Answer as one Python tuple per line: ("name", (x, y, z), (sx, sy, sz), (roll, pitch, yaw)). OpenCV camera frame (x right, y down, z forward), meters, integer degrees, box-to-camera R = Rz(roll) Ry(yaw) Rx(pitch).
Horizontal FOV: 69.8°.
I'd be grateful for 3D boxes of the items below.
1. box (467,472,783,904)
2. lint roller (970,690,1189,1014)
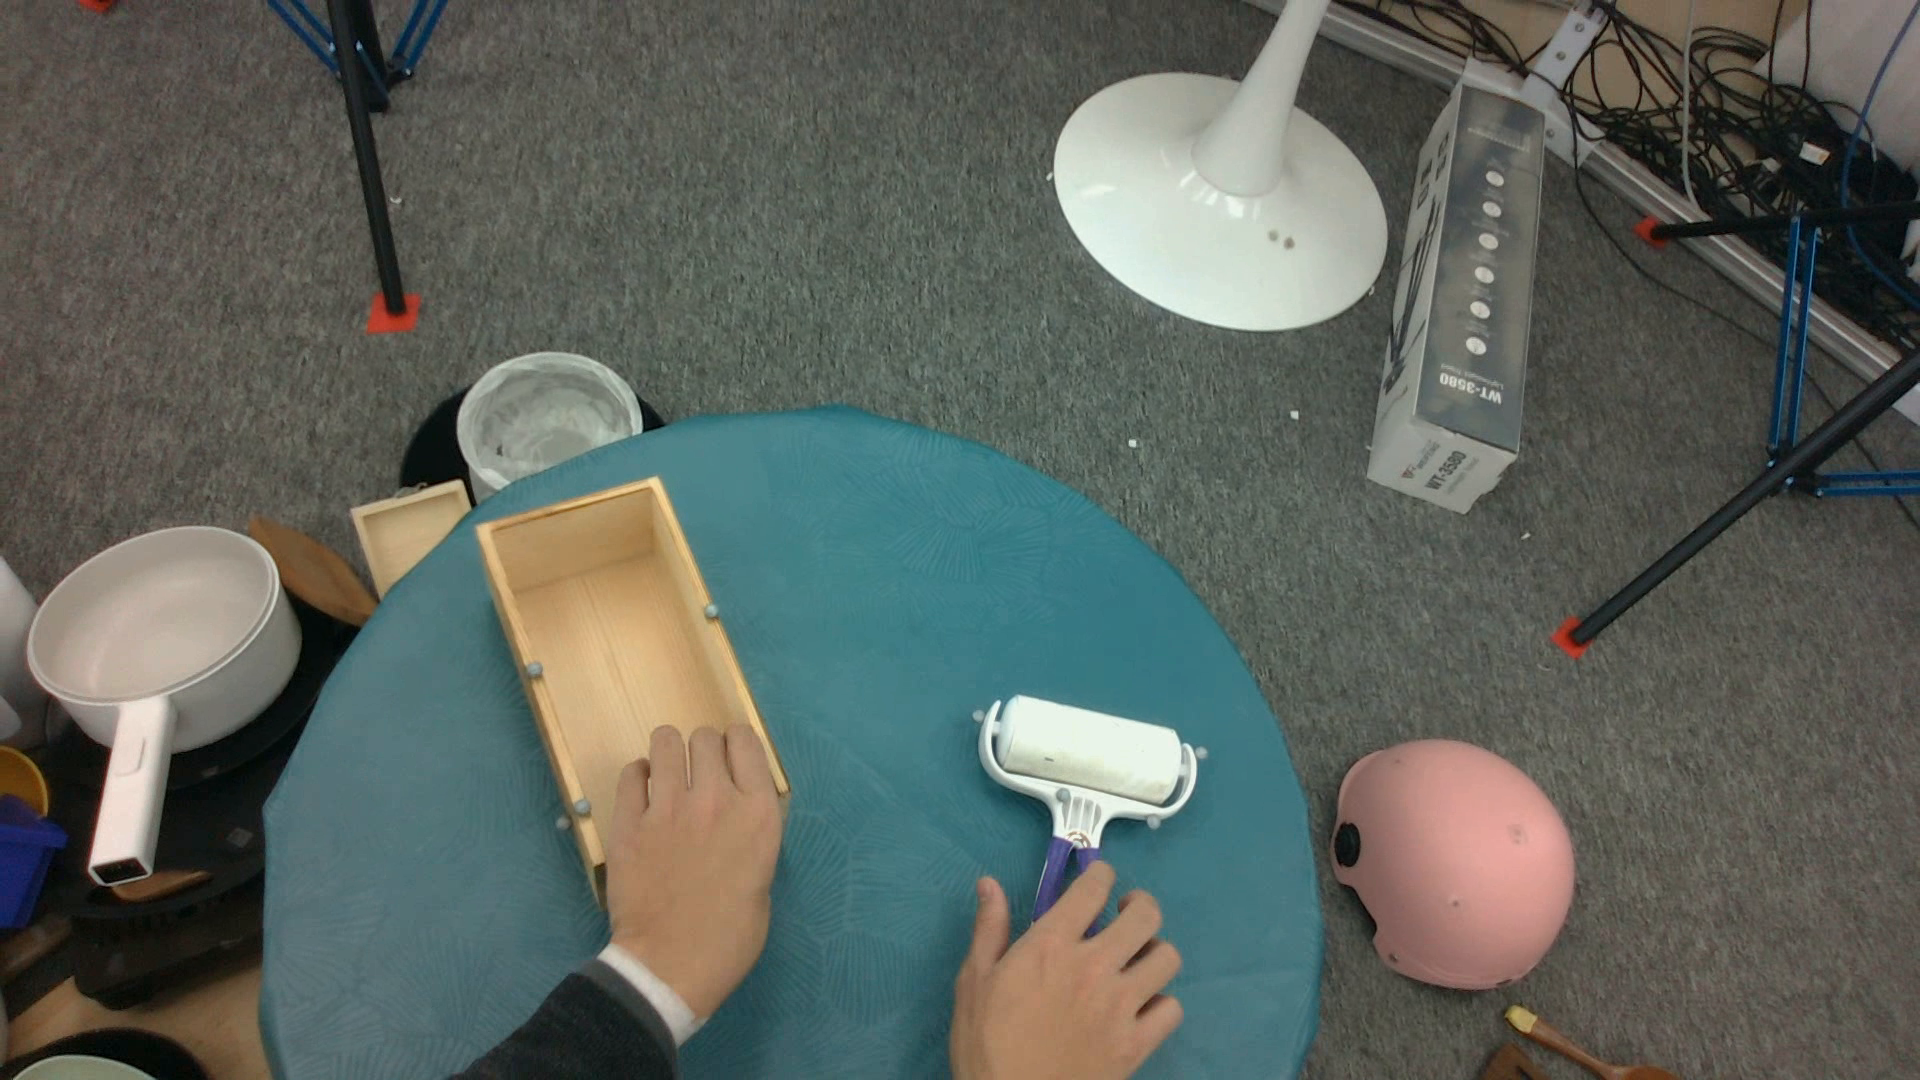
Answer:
("box", (-0.192, 0.079, 0.779), (0.108, 0.080, 0.212), (-18, 65, -23))
("lint roller", (0.061, 0.177, 0.794), (0.133, 0.050, 0.181), (15, 55, -5))
